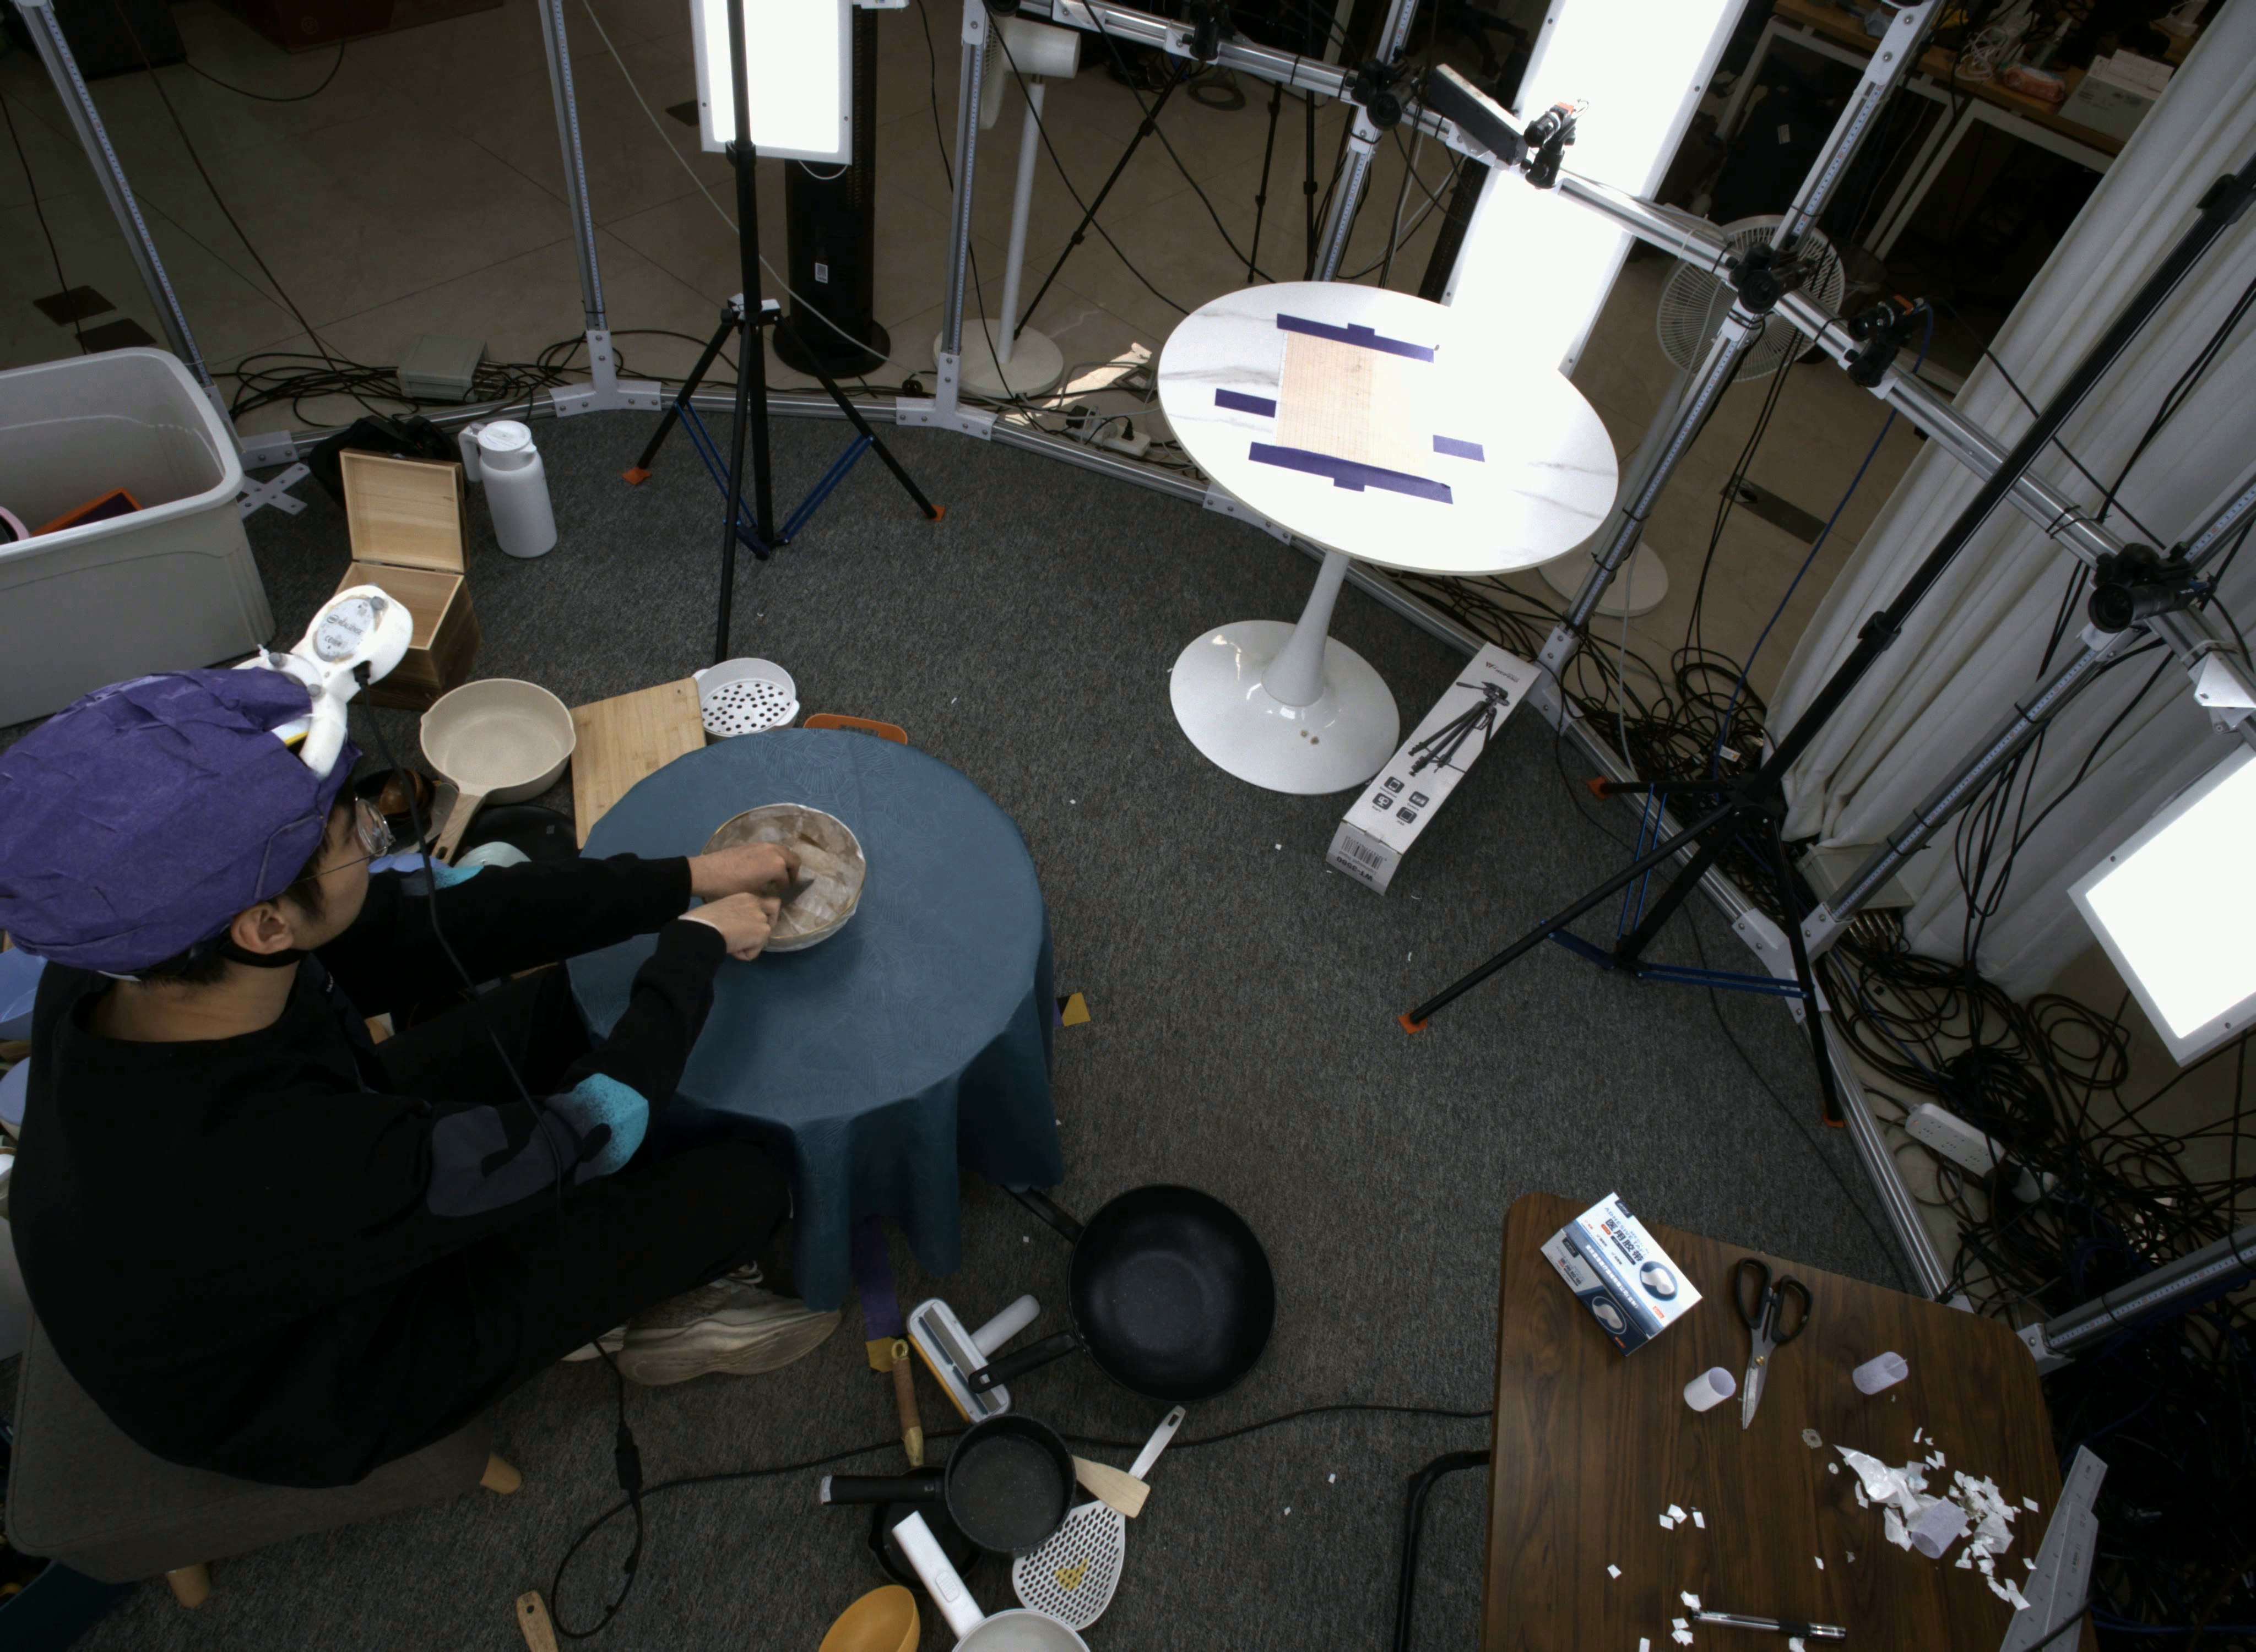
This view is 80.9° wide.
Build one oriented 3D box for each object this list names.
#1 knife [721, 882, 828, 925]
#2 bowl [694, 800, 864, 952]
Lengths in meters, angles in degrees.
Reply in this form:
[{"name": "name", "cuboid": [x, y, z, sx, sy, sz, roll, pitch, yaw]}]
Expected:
[{"name": "knife", "cuboid": [-0.419, 0.085, 1.548, 0.026, 0.017, 0.226, 52, 17, 3]}, {"name": "bowl", "cuboid": [-0.430, 0.076, 1.593, 0.214, 0.096, 0.211, 8, 53, -9]}]
